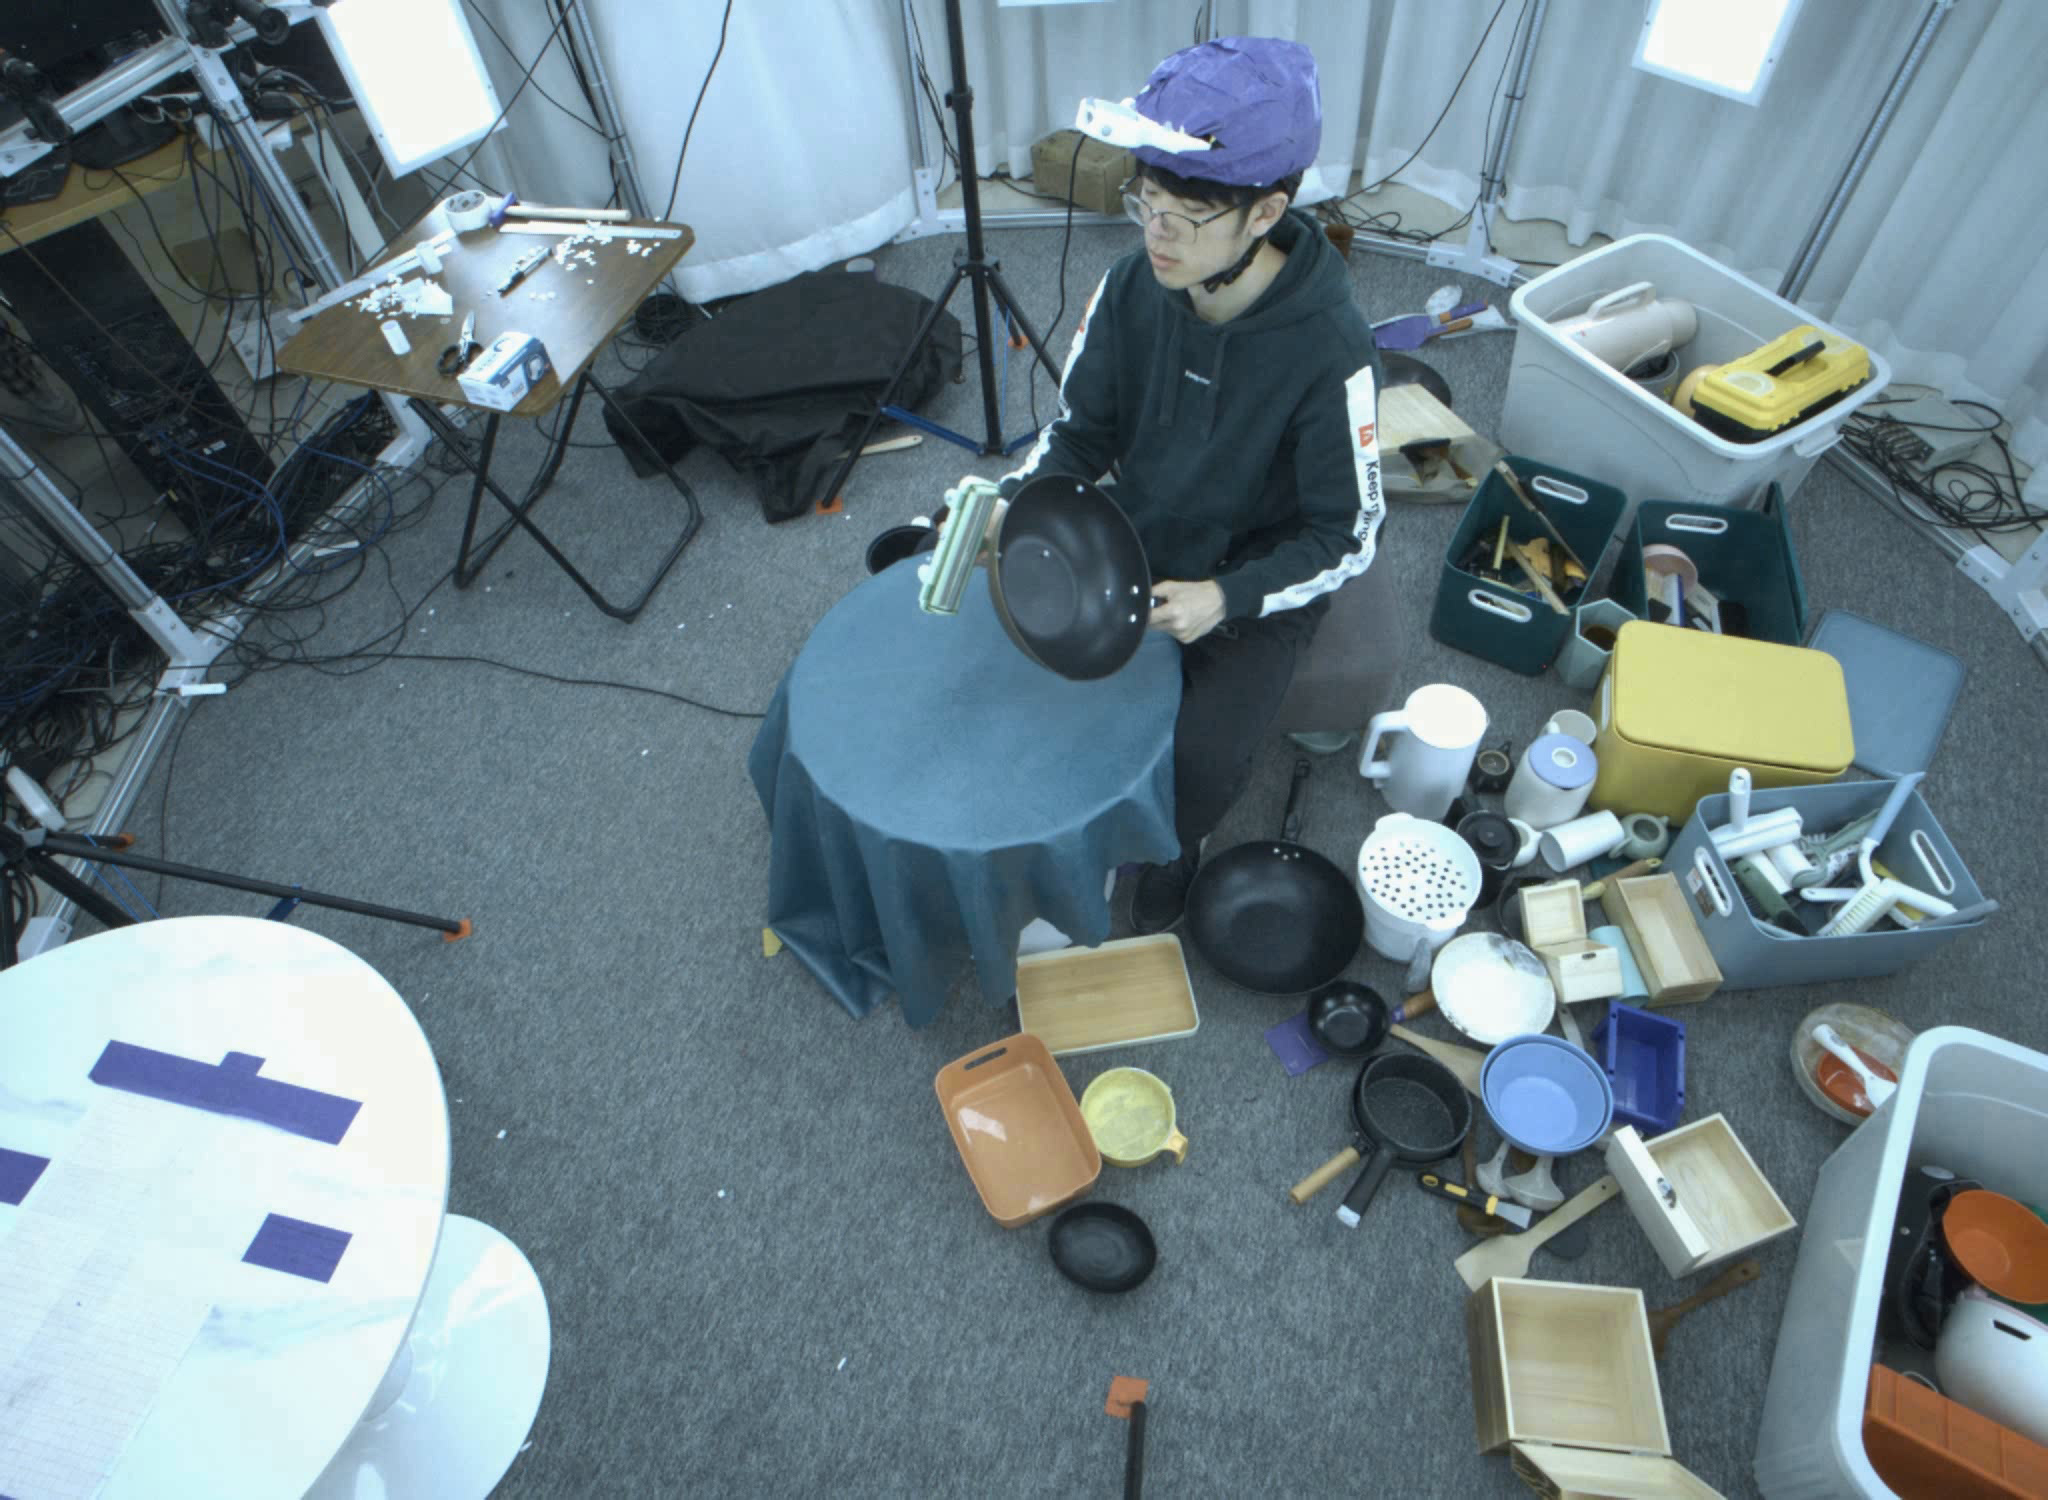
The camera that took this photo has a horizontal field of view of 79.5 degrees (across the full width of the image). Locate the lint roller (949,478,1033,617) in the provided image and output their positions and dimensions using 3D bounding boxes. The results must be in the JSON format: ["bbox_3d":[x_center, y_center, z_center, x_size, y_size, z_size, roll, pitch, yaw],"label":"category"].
[{"bbox_3d":[-0.036,-0.298,1.745,0.082,0.198,0.184,27,24,8],"label":"lint roller"}]

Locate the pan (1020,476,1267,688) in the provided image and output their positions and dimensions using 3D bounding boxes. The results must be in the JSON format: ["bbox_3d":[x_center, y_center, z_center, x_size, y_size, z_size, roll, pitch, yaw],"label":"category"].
[{"bbox_3d":[0.161,-0.203,1.708,0.085,0.474,0.287,-5,76,49],"label":"pan"}]
